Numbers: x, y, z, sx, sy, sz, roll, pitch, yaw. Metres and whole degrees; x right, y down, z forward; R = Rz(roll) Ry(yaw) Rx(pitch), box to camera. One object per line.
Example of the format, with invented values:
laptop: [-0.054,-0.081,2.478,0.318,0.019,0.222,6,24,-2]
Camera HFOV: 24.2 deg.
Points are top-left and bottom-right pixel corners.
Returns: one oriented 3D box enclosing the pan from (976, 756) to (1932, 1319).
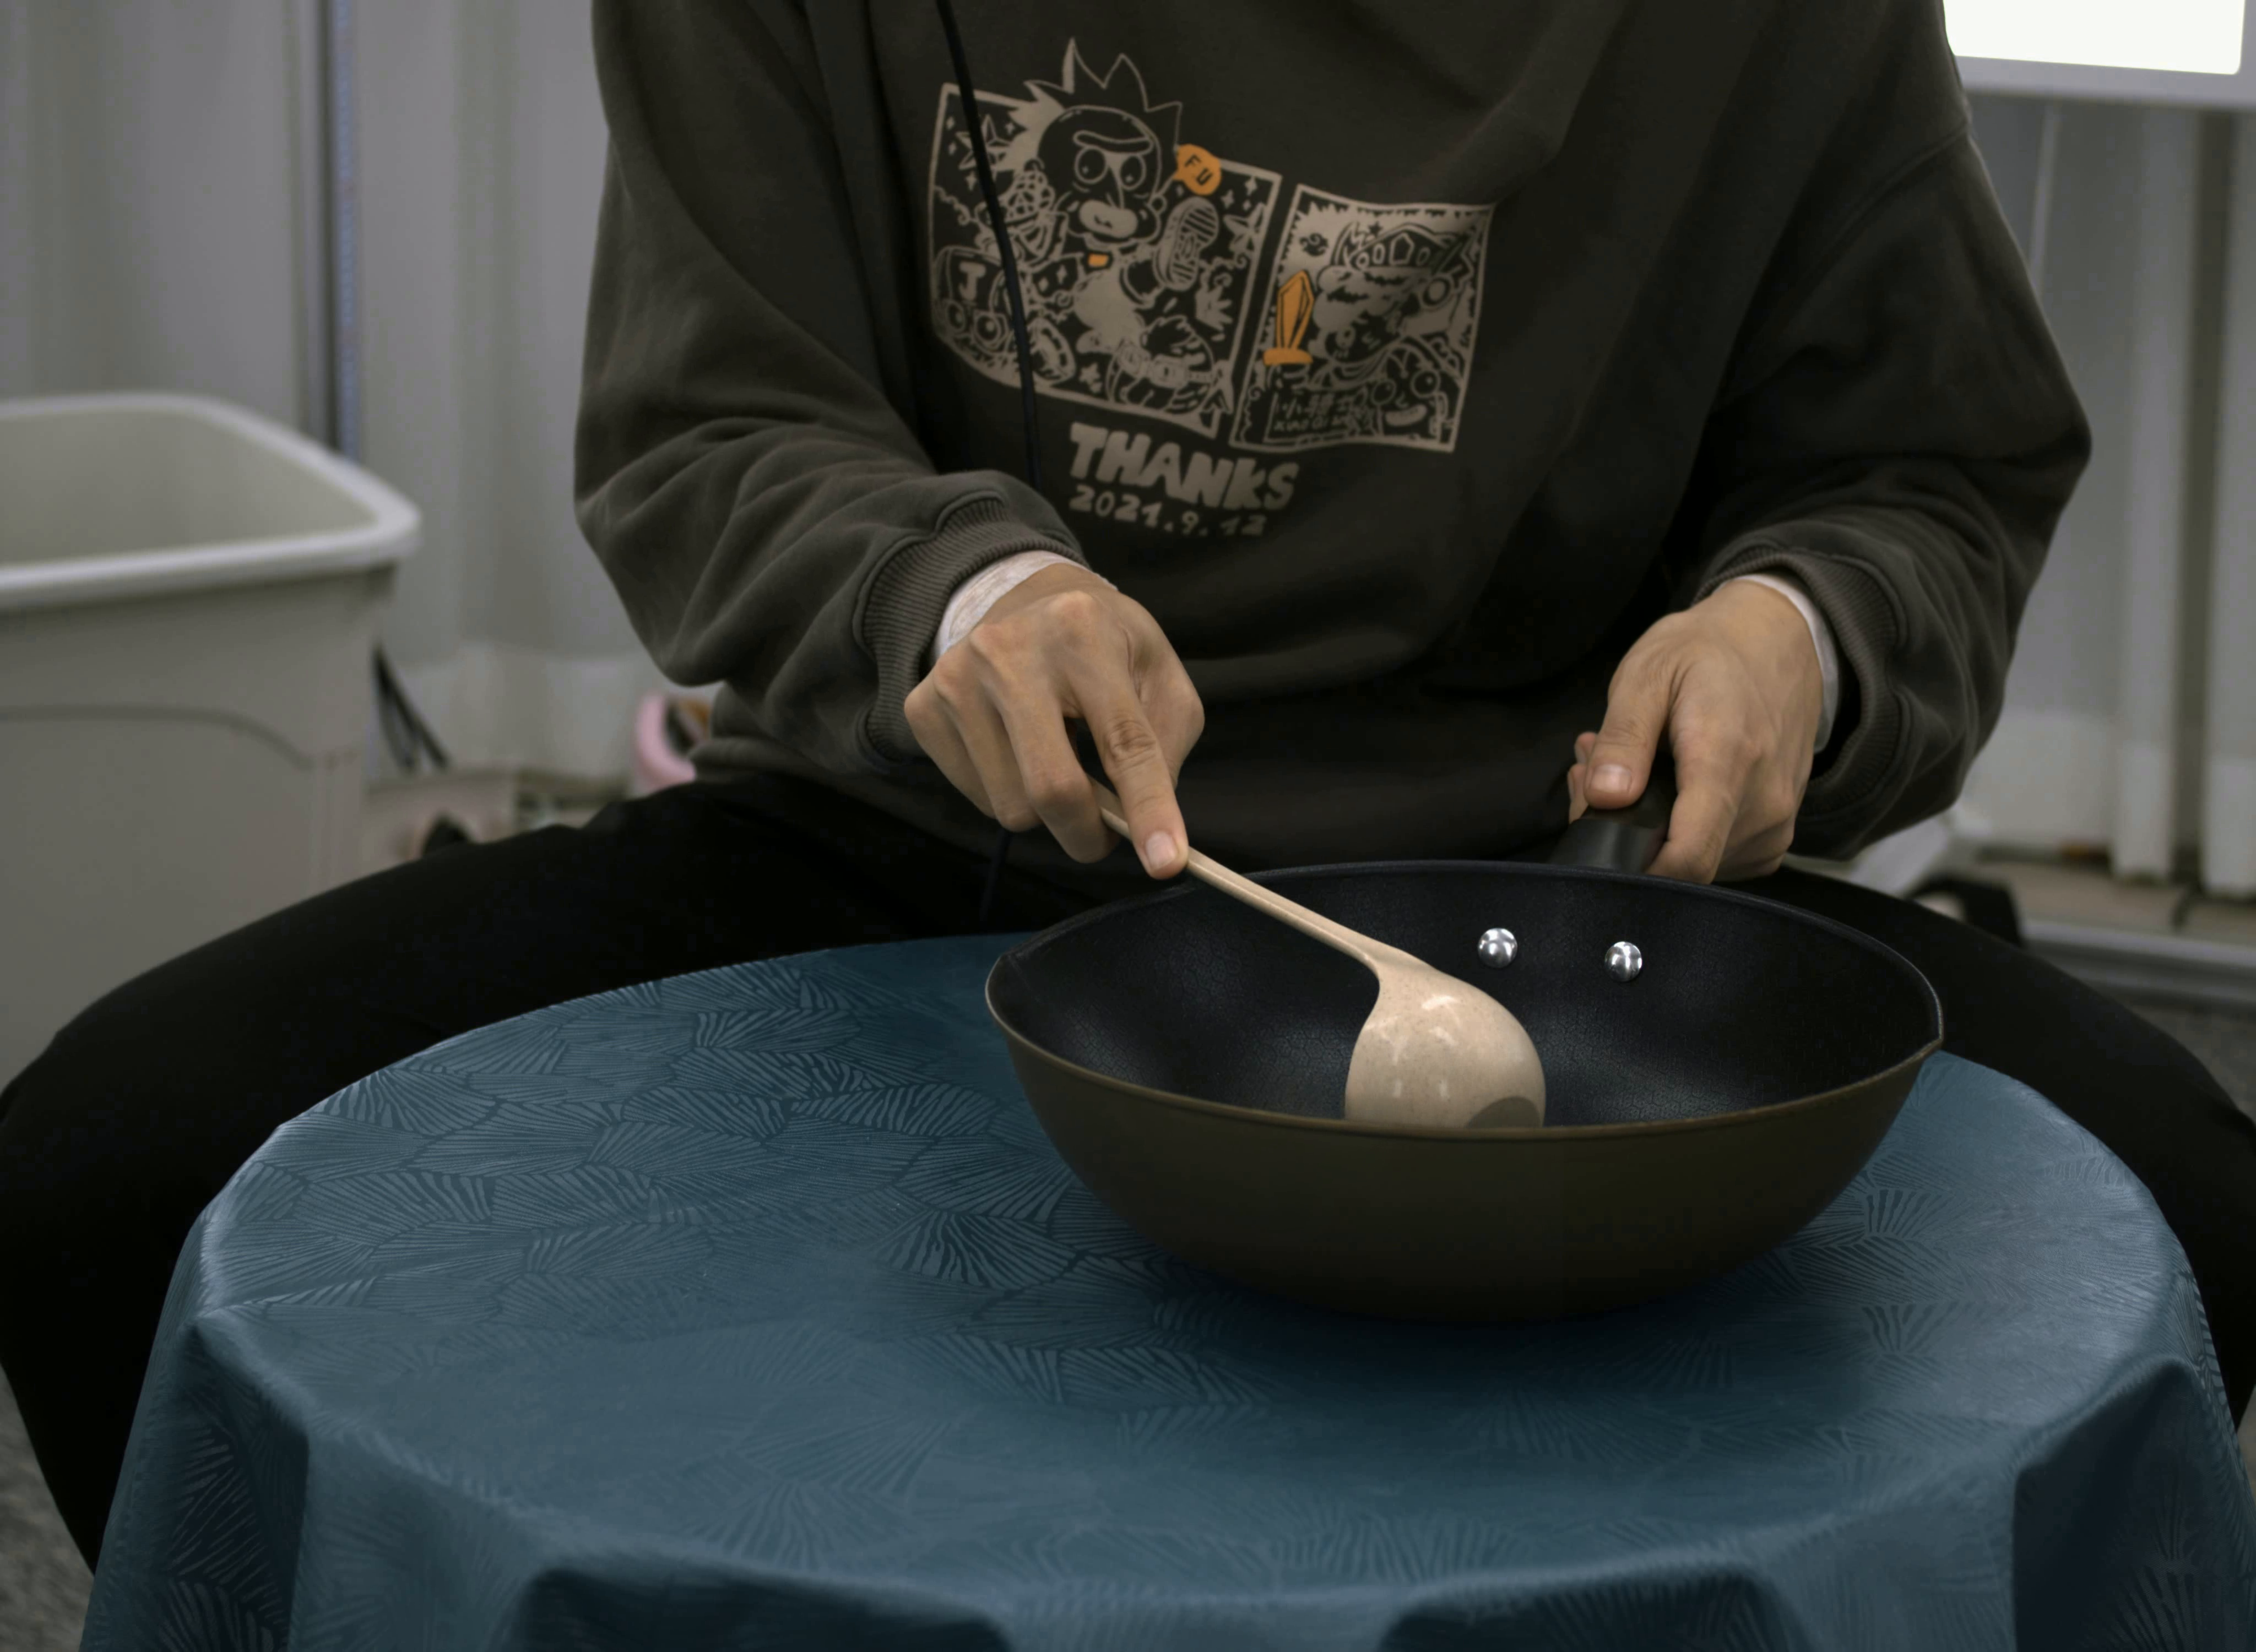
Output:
pan: [0.124,0.063,1.659,0.285,0.087,0.463,5,15,17]

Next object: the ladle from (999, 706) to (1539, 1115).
ladle: [0.030,0.044,1.647,0.072,0.073,0.251,-3,25,-41]
